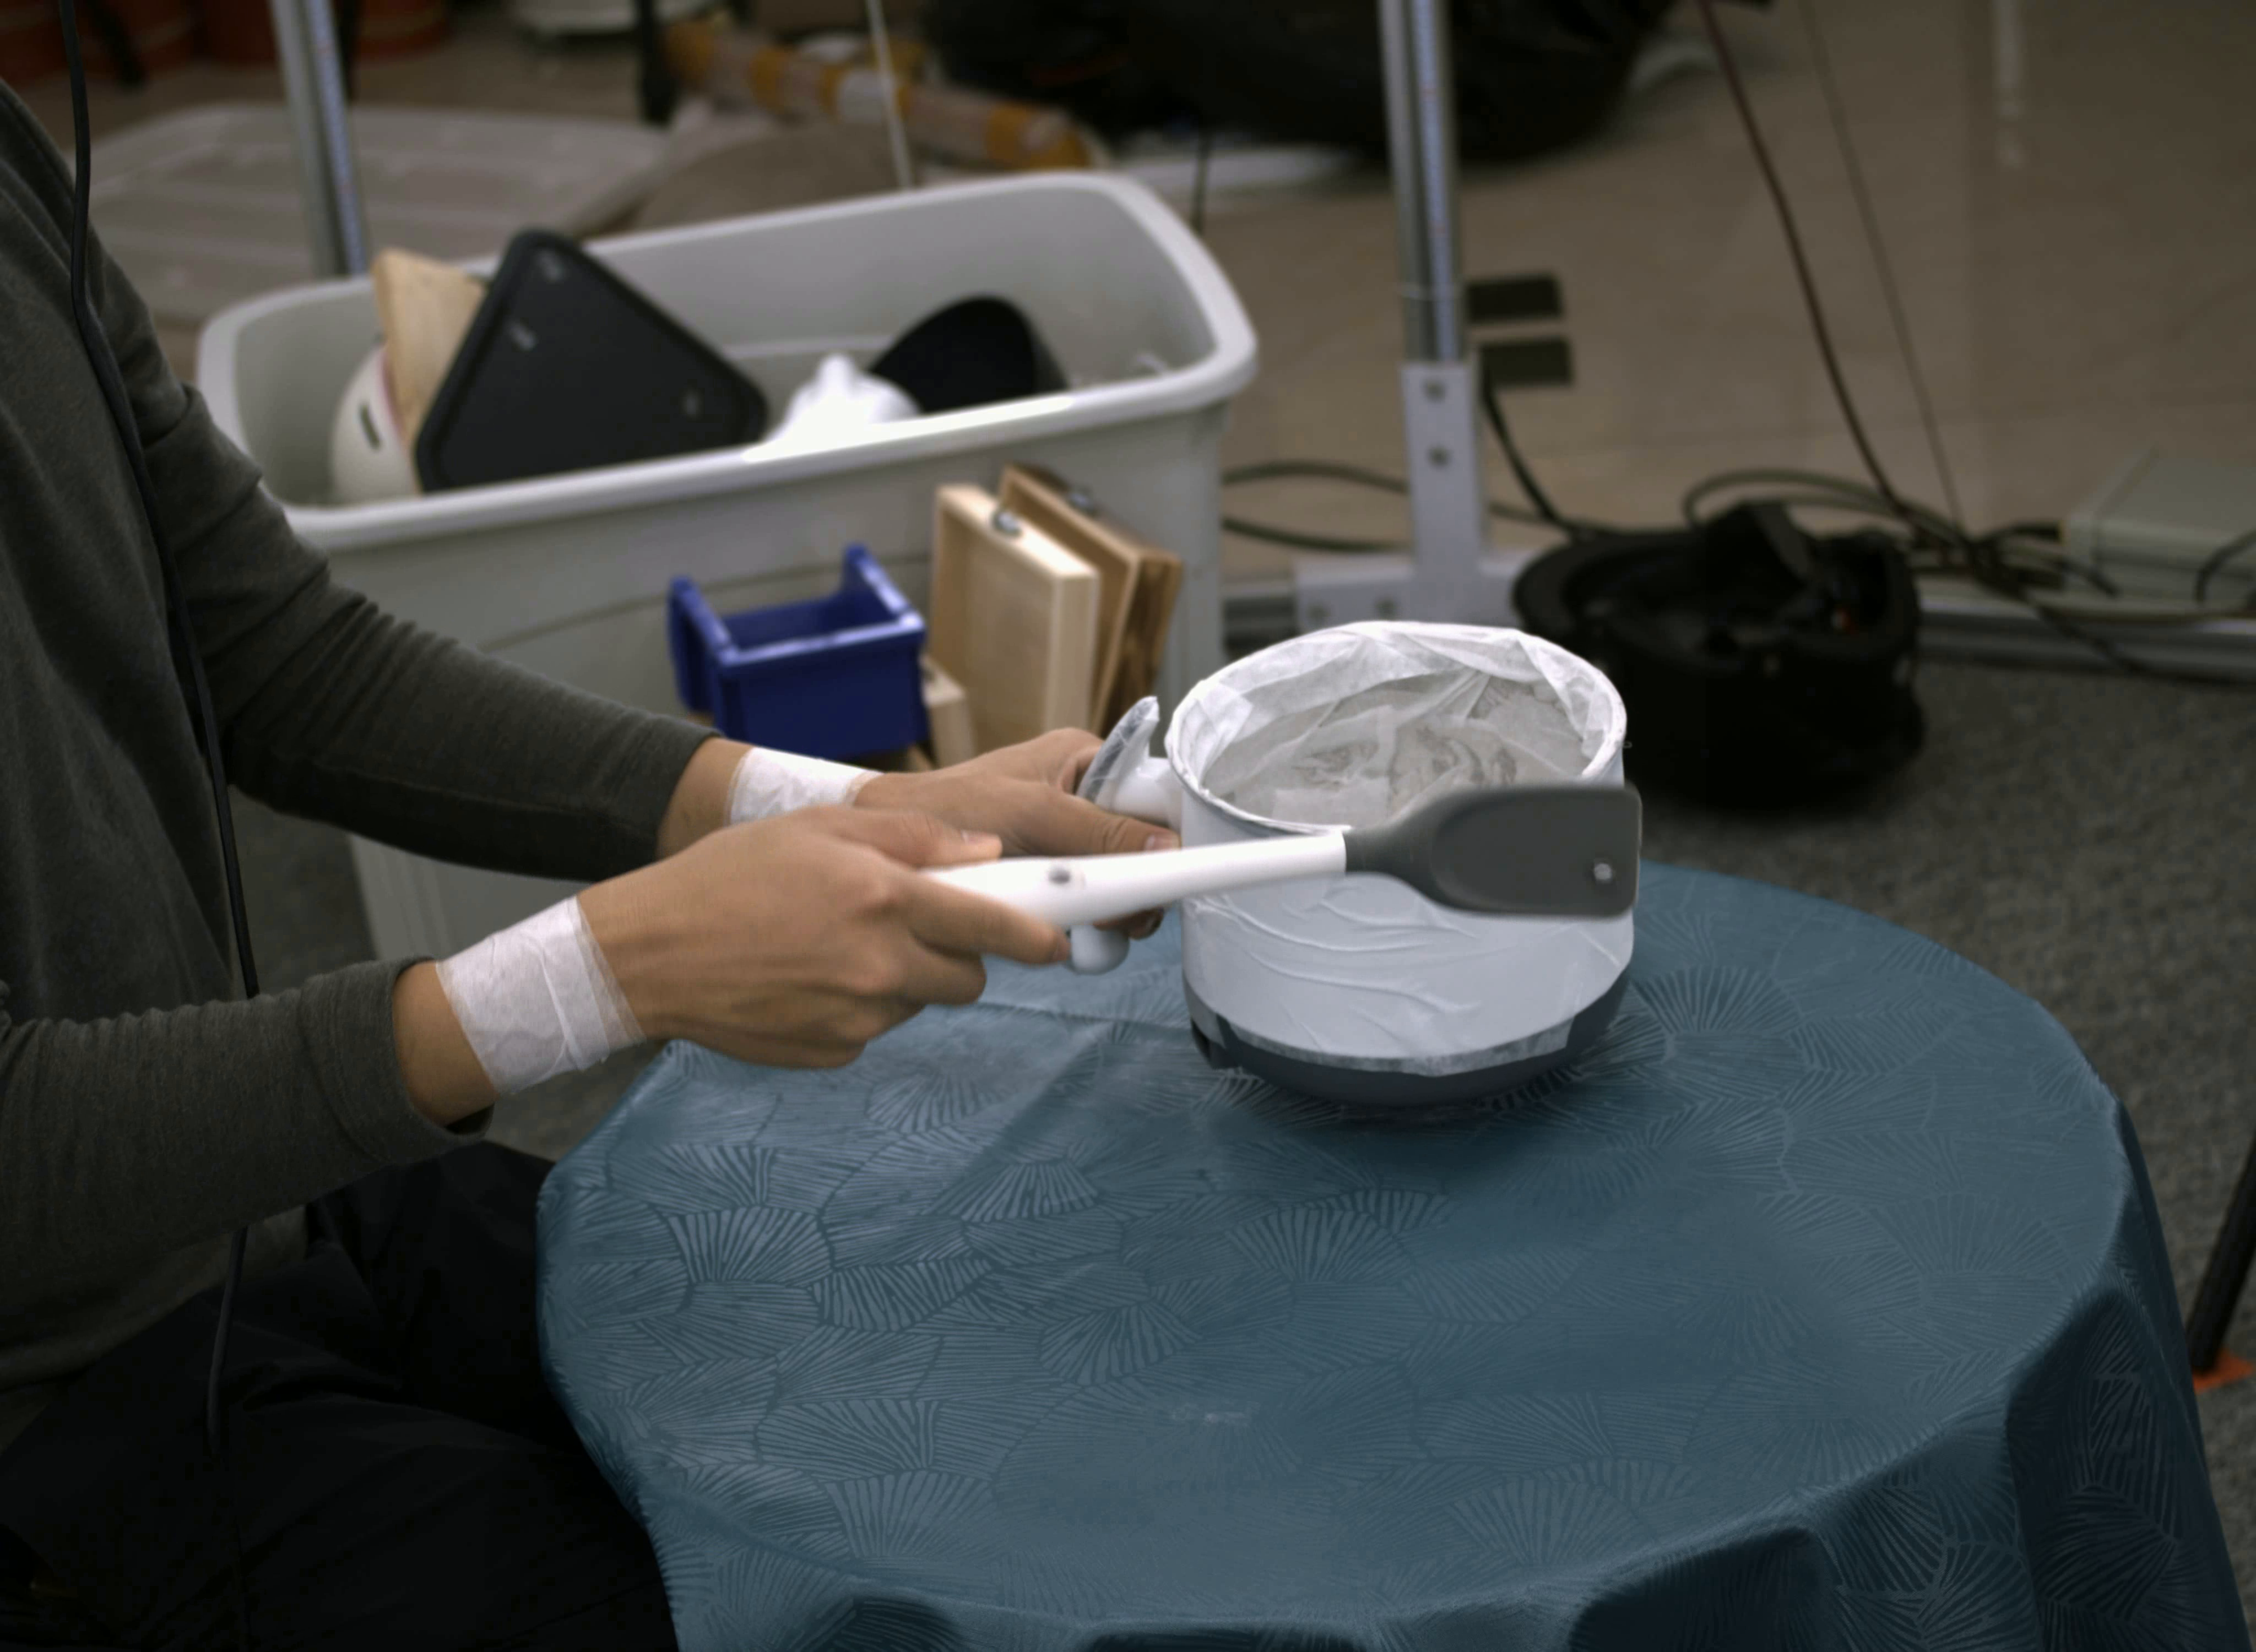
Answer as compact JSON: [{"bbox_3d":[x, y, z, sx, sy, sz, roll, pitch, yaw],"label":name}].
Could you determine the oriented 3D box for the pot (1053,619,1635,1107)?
[{"bbox_3d":[0.081,0.015,2.205,0.233,0.139,0.176,4,30,15],"label":"pot"}]

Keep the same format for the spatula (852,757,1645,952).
[{"bbox_3d":[0.045,0.013,1.997,0.287,0.059,0.032,-6,15,-15],"label":"spatula"}]
